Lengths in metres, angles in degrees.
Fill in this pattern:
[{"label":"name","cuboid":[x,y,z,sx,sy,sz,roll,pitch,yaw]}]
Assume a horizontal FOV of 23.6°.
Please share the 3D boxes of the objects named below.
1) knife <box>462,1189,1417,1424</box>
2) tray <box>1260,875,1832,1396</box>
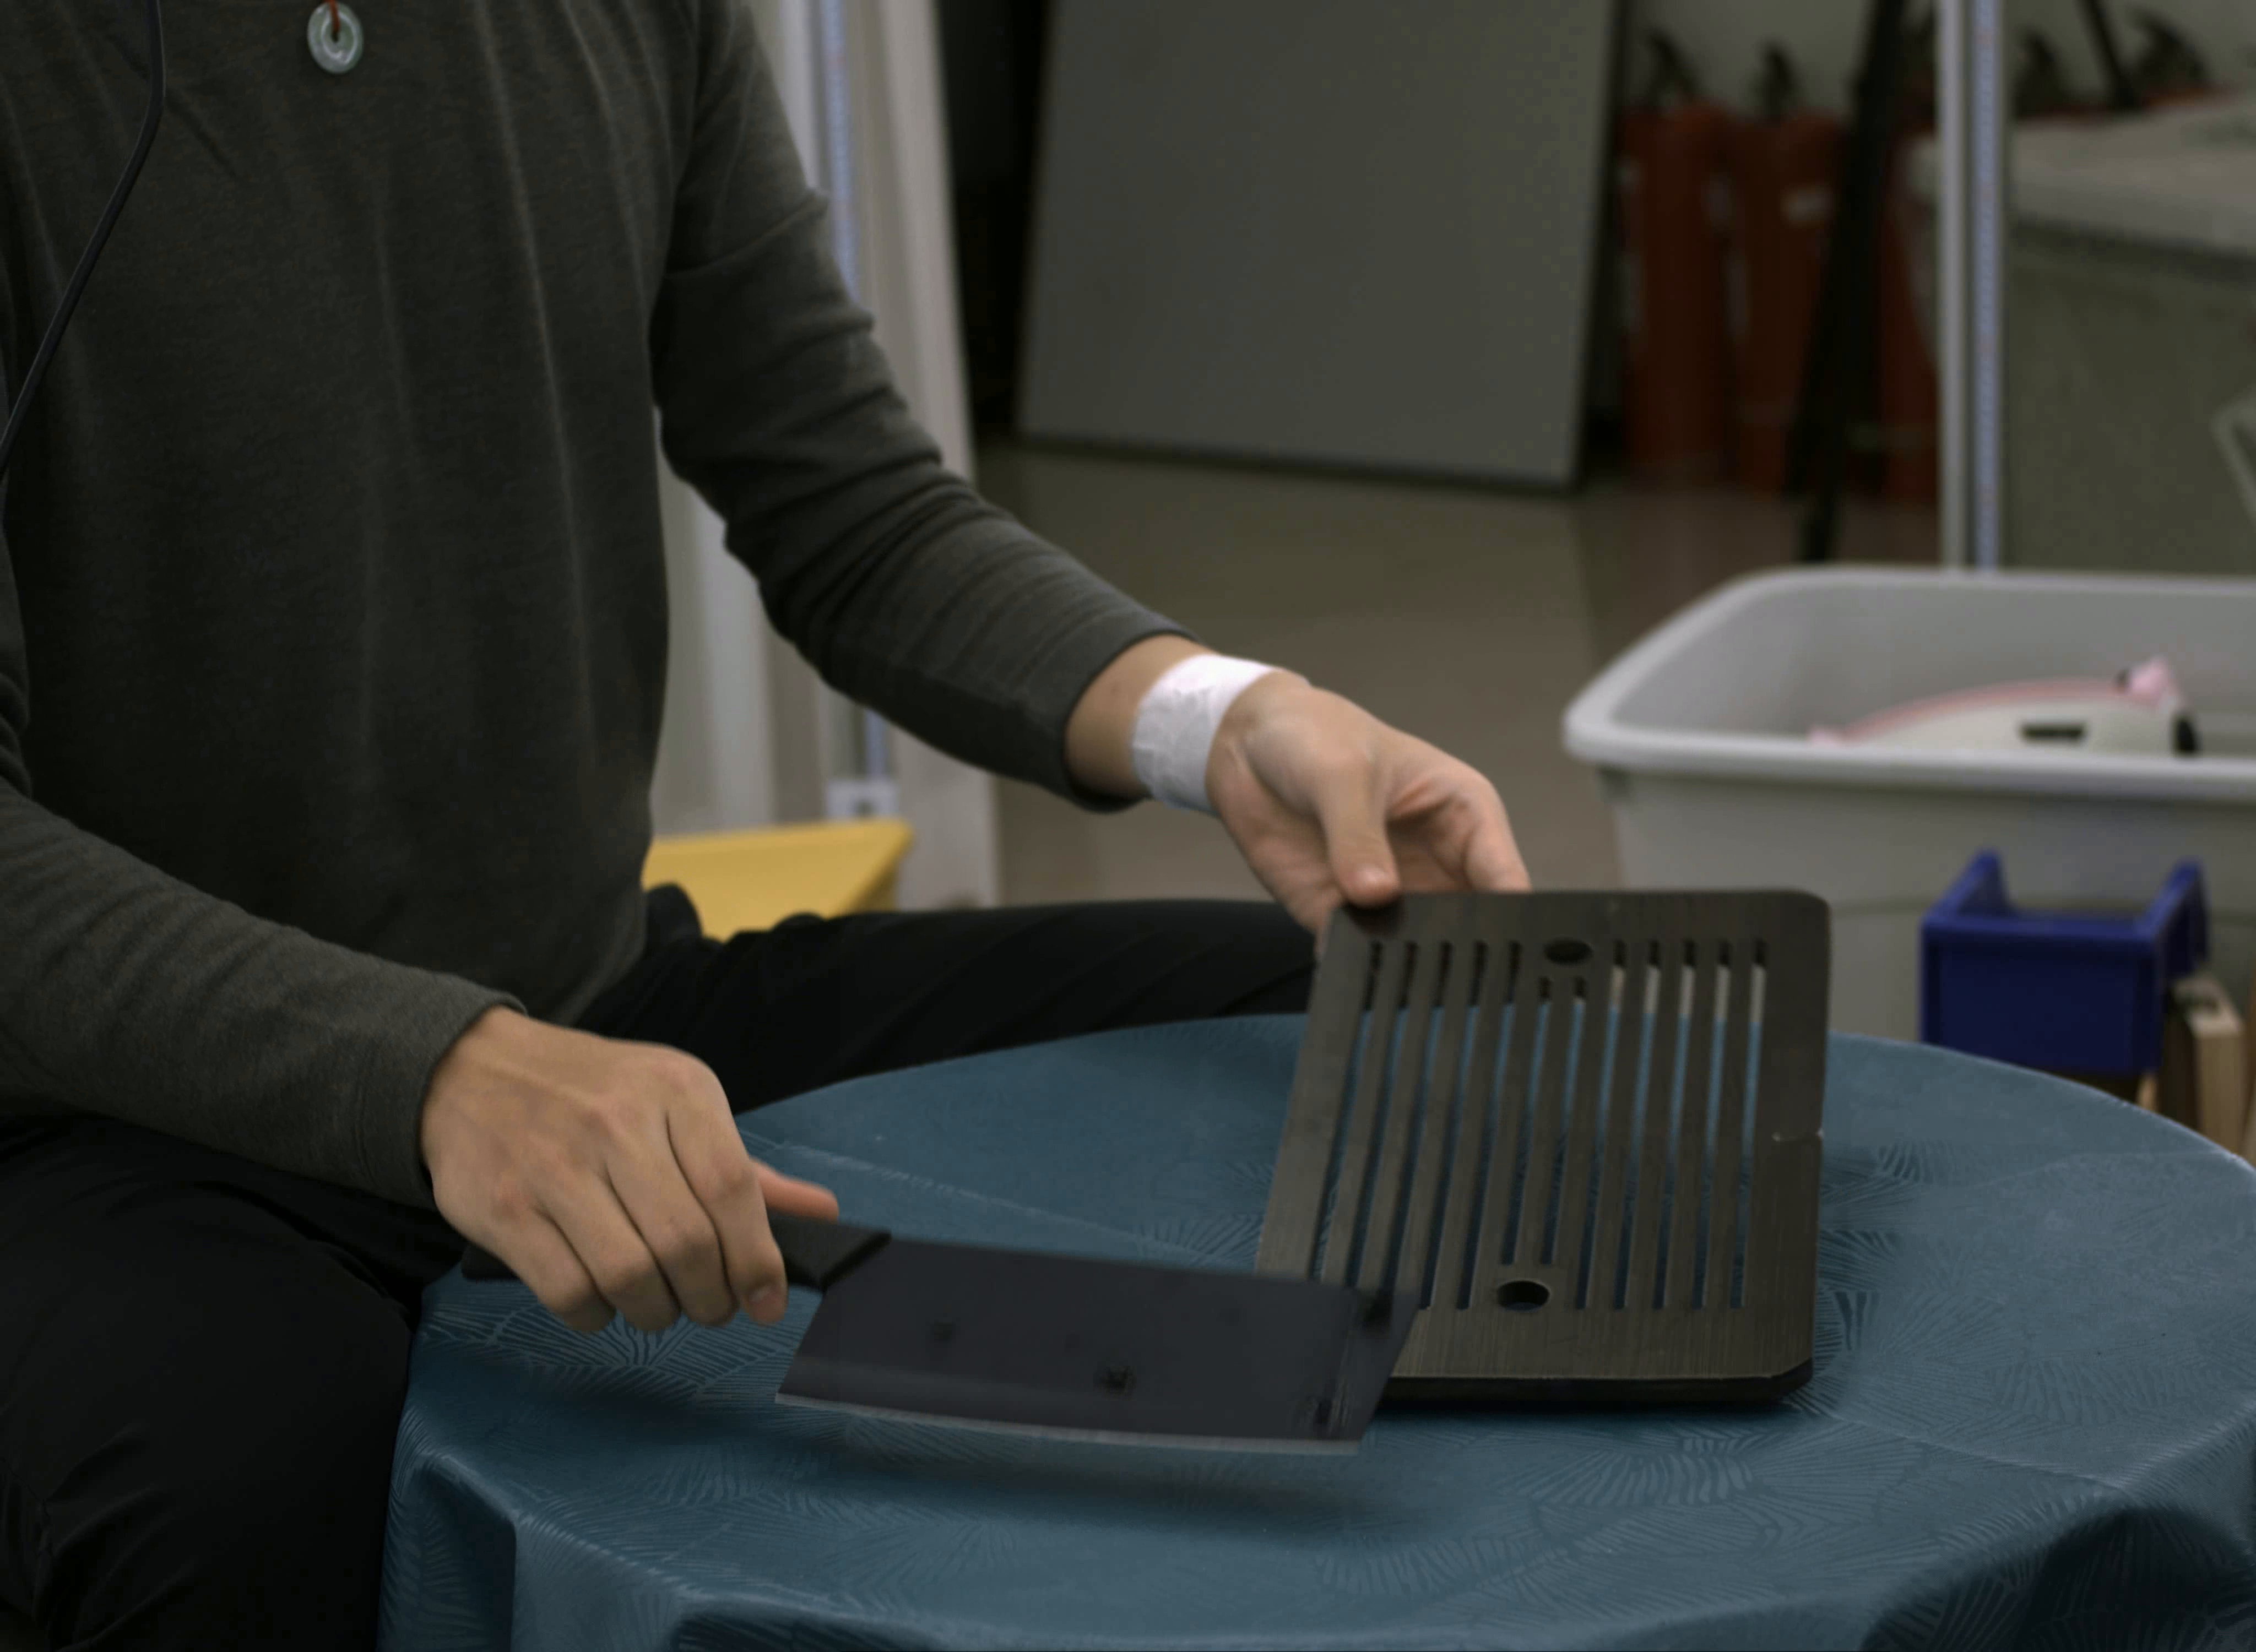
[{"label":"knife","cuboid":[-0.061,0.136,1.548,0.303,0.021,0.081,5,46,29]},{"label":"tray","cuboid":[0.134,0.094,1.675,0.169,0.019,0.306,-3,26,10]}]
